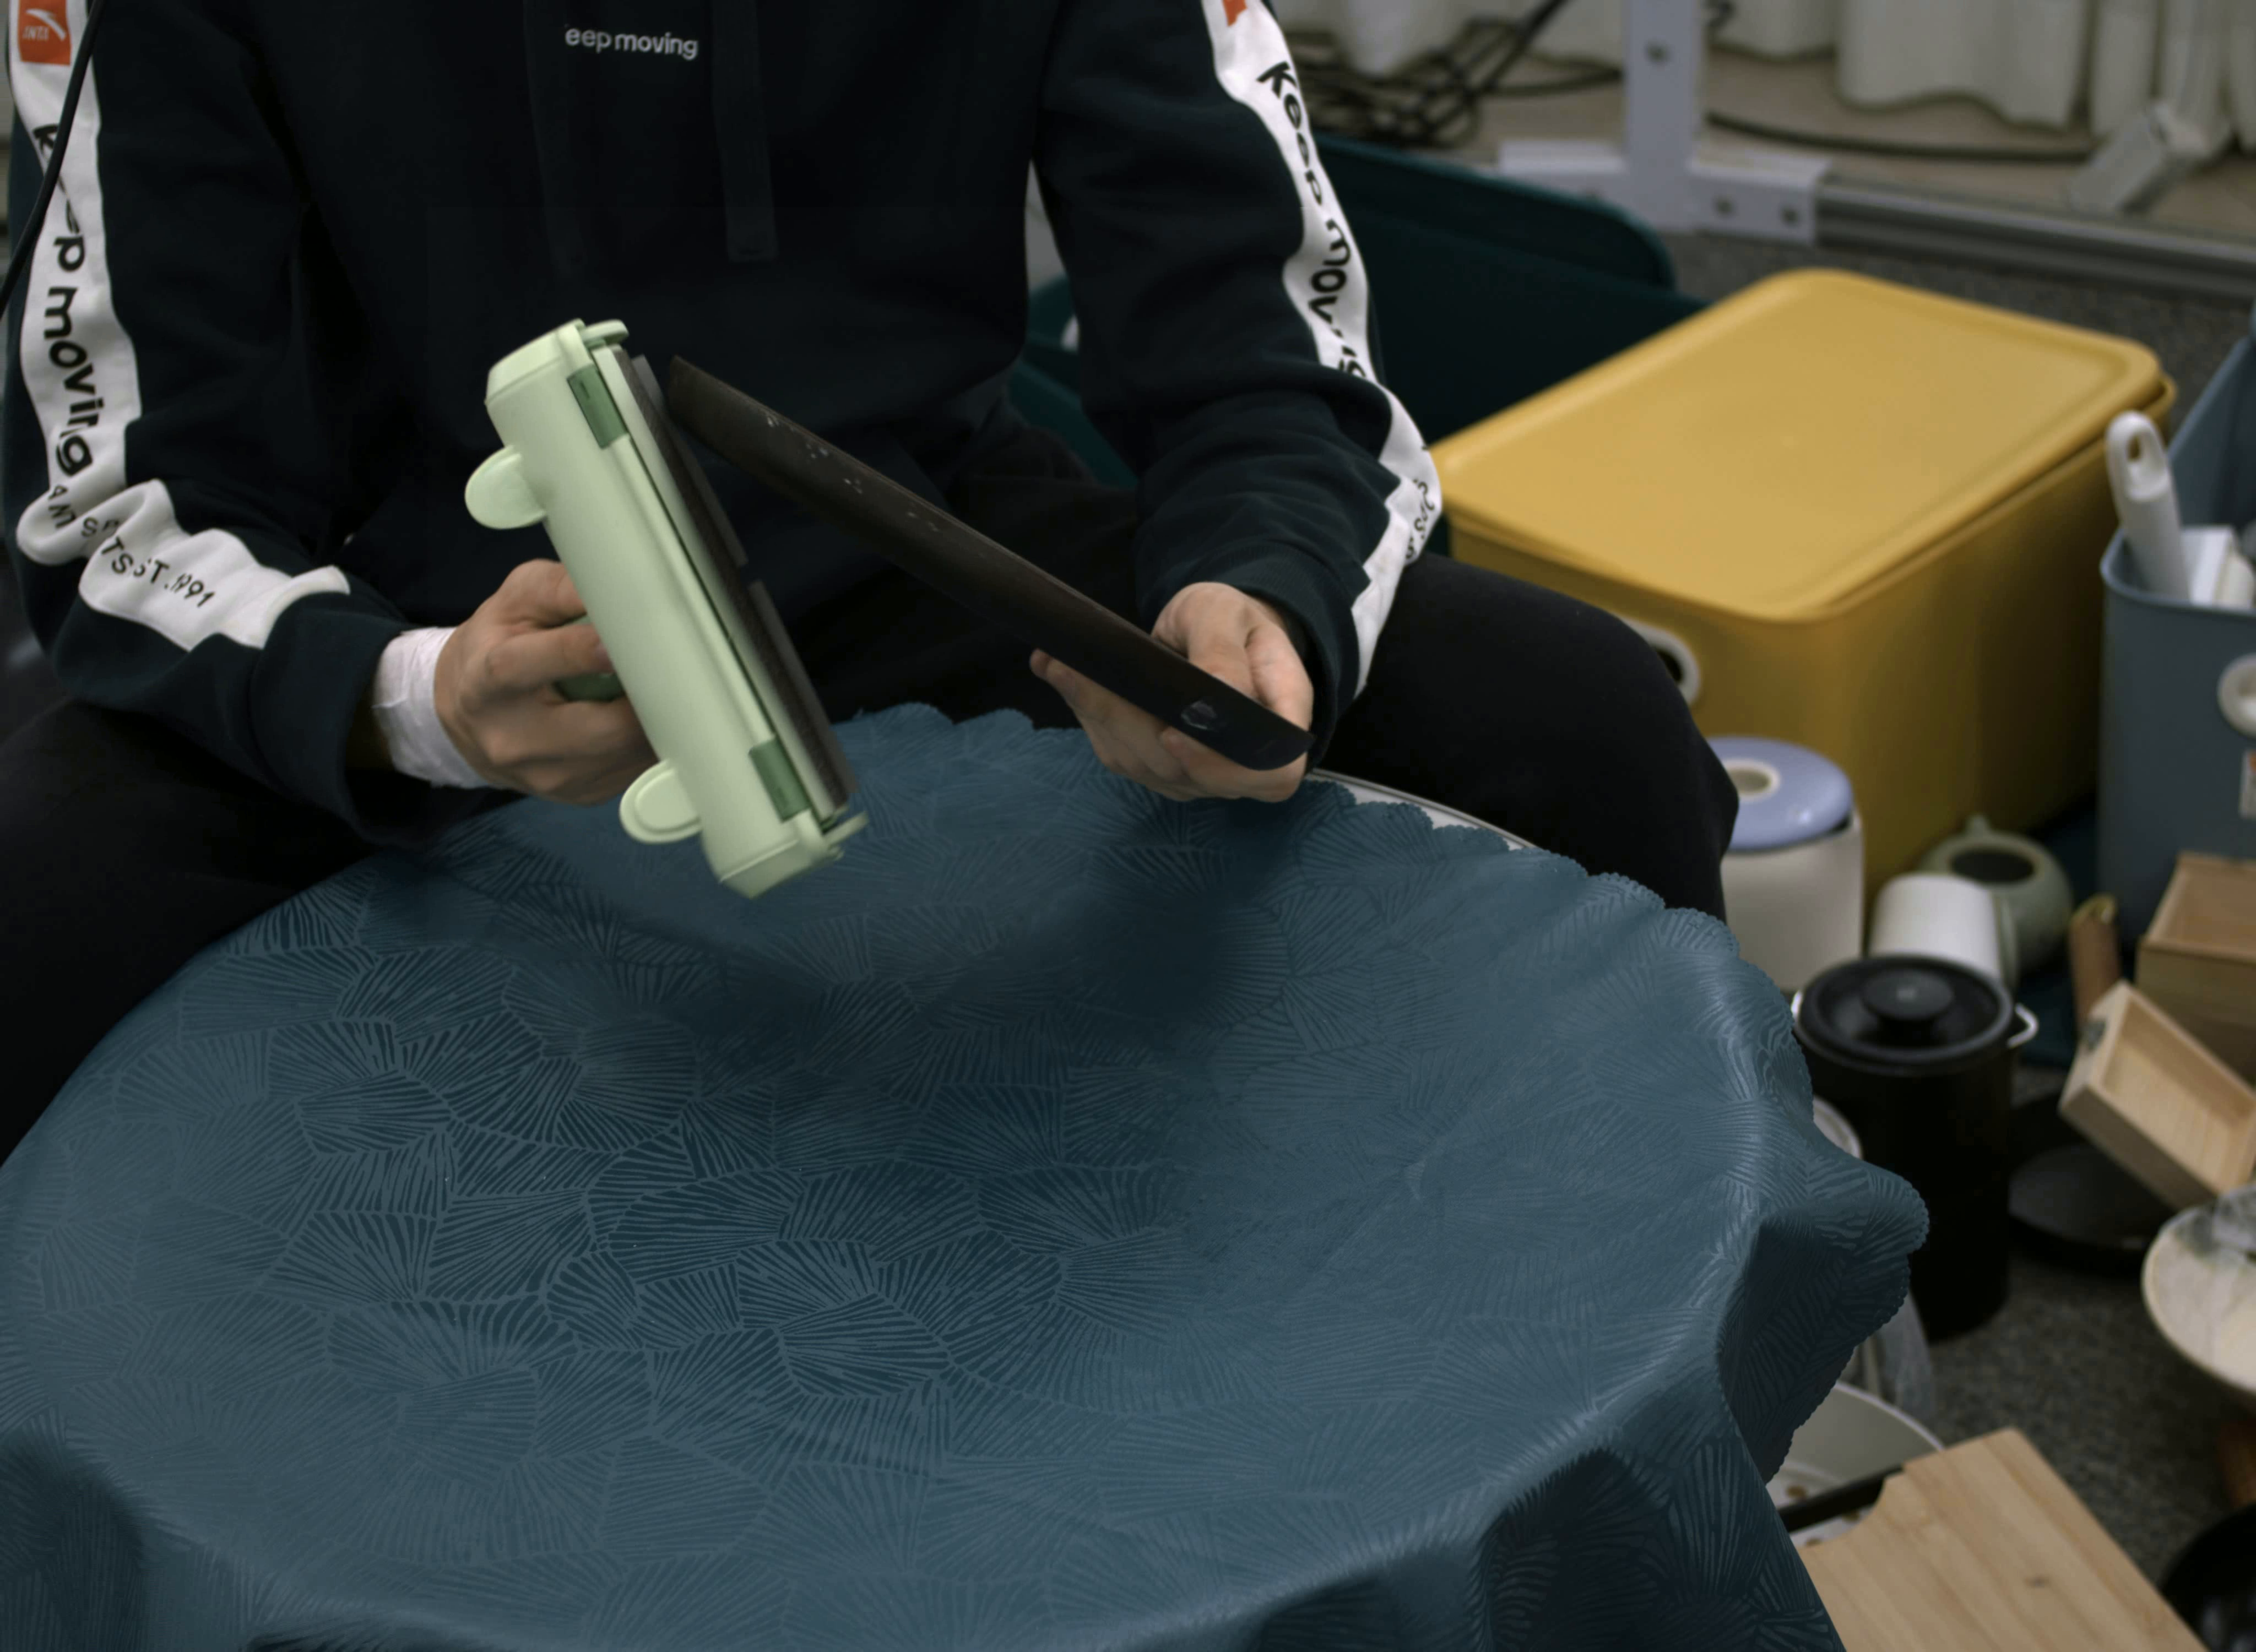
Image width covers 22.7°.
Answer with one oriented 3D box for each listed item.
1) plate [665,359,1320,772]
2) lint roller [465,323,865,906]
[{"bbox_3d":[-0.048,-0.086,1.897,0.254,0.029,0.255,29,2,0],"label":"plate"},{"bbox_3d":[-0.182,-0.055,1.903,0.083,0.199,0.181,-25,-1,-34],"label":"lint roller"}]
